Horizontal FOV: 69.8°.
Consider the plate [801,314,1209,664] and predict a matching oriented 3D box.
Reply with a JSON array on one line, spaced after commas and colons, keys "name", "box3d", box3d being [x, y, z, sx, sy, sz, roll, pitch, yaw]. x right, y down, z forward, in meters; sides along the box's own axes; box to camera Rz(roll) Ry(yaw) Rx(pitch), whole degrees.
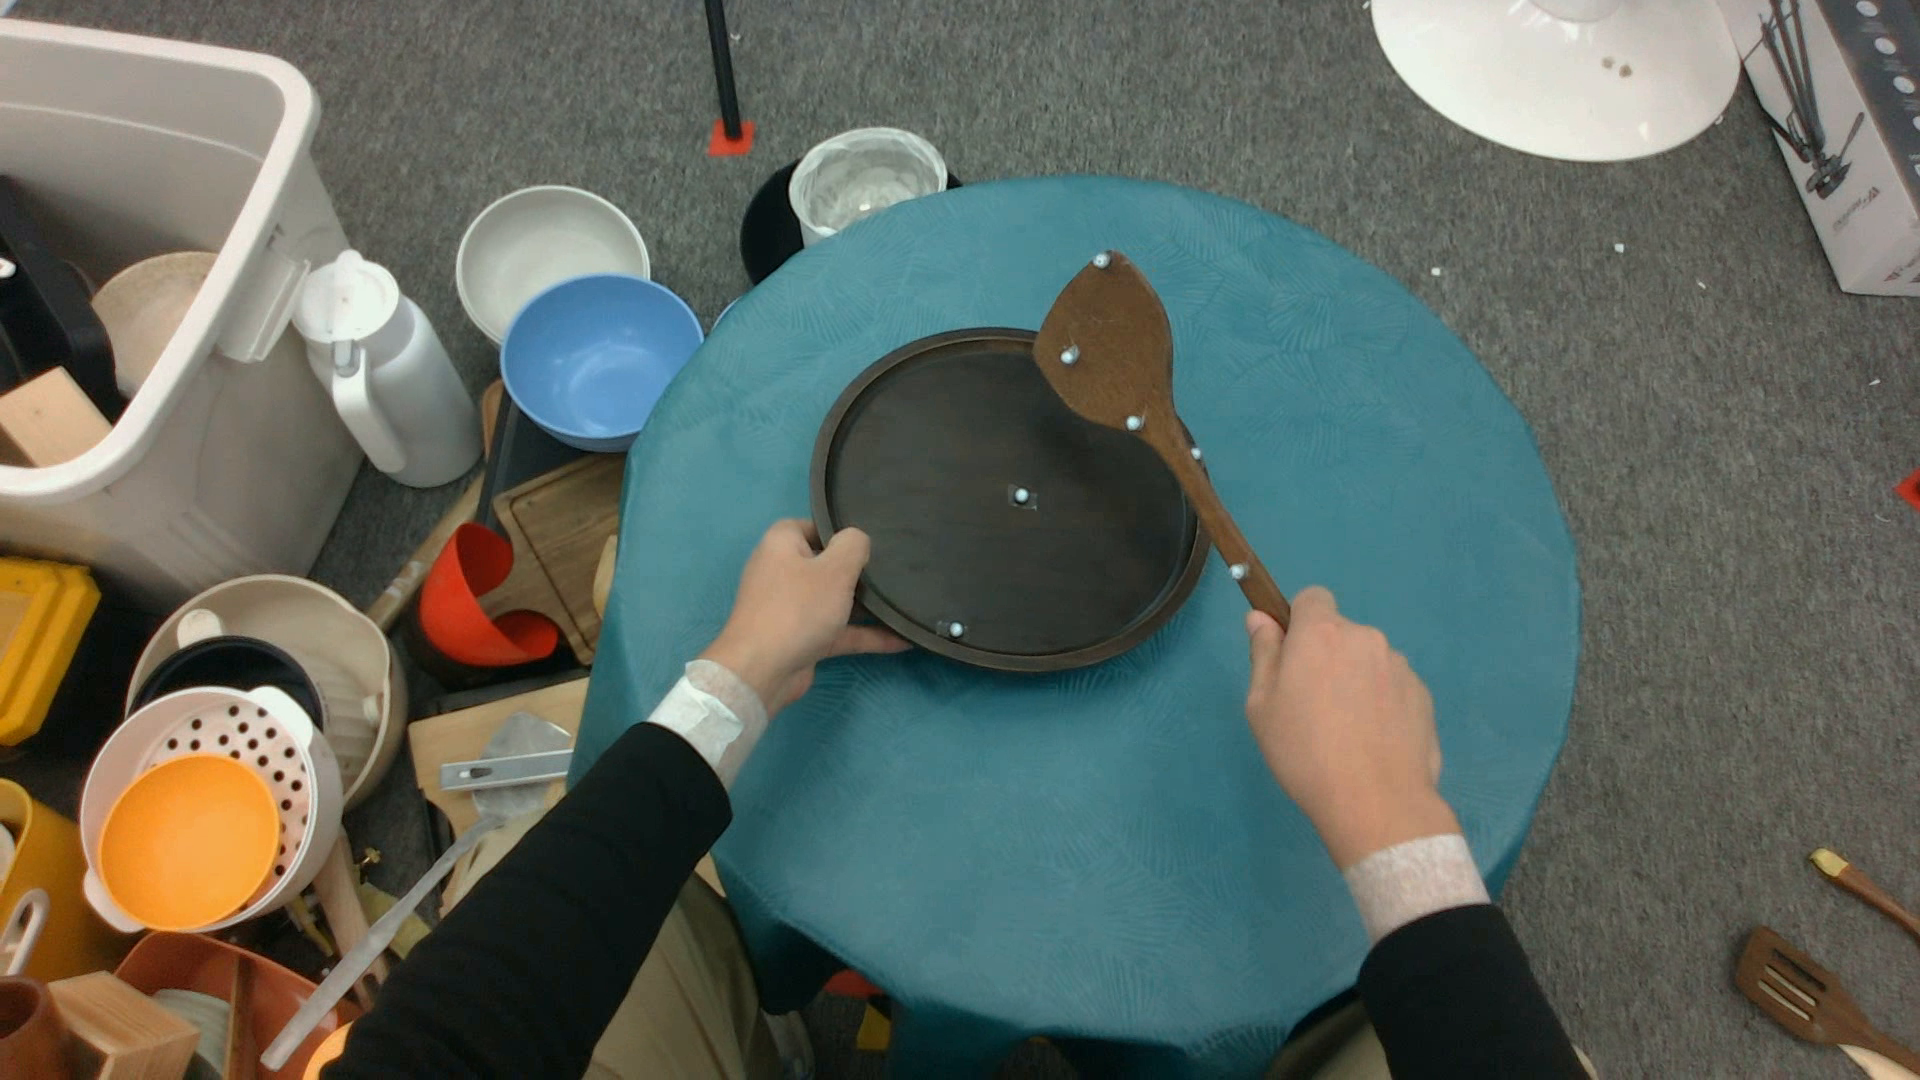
[{"name": "plate", "box3d": [0.028, -0.037, 0.850, 0.255, 0.029, 0.256, 4, 58, -7]}]

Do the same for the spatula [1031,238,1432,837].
[{"name": "spatula", "box3d": [0.143, -0.009, 0.755, 0.016, 0.095, 0.387, -3, 54, -39]}]
